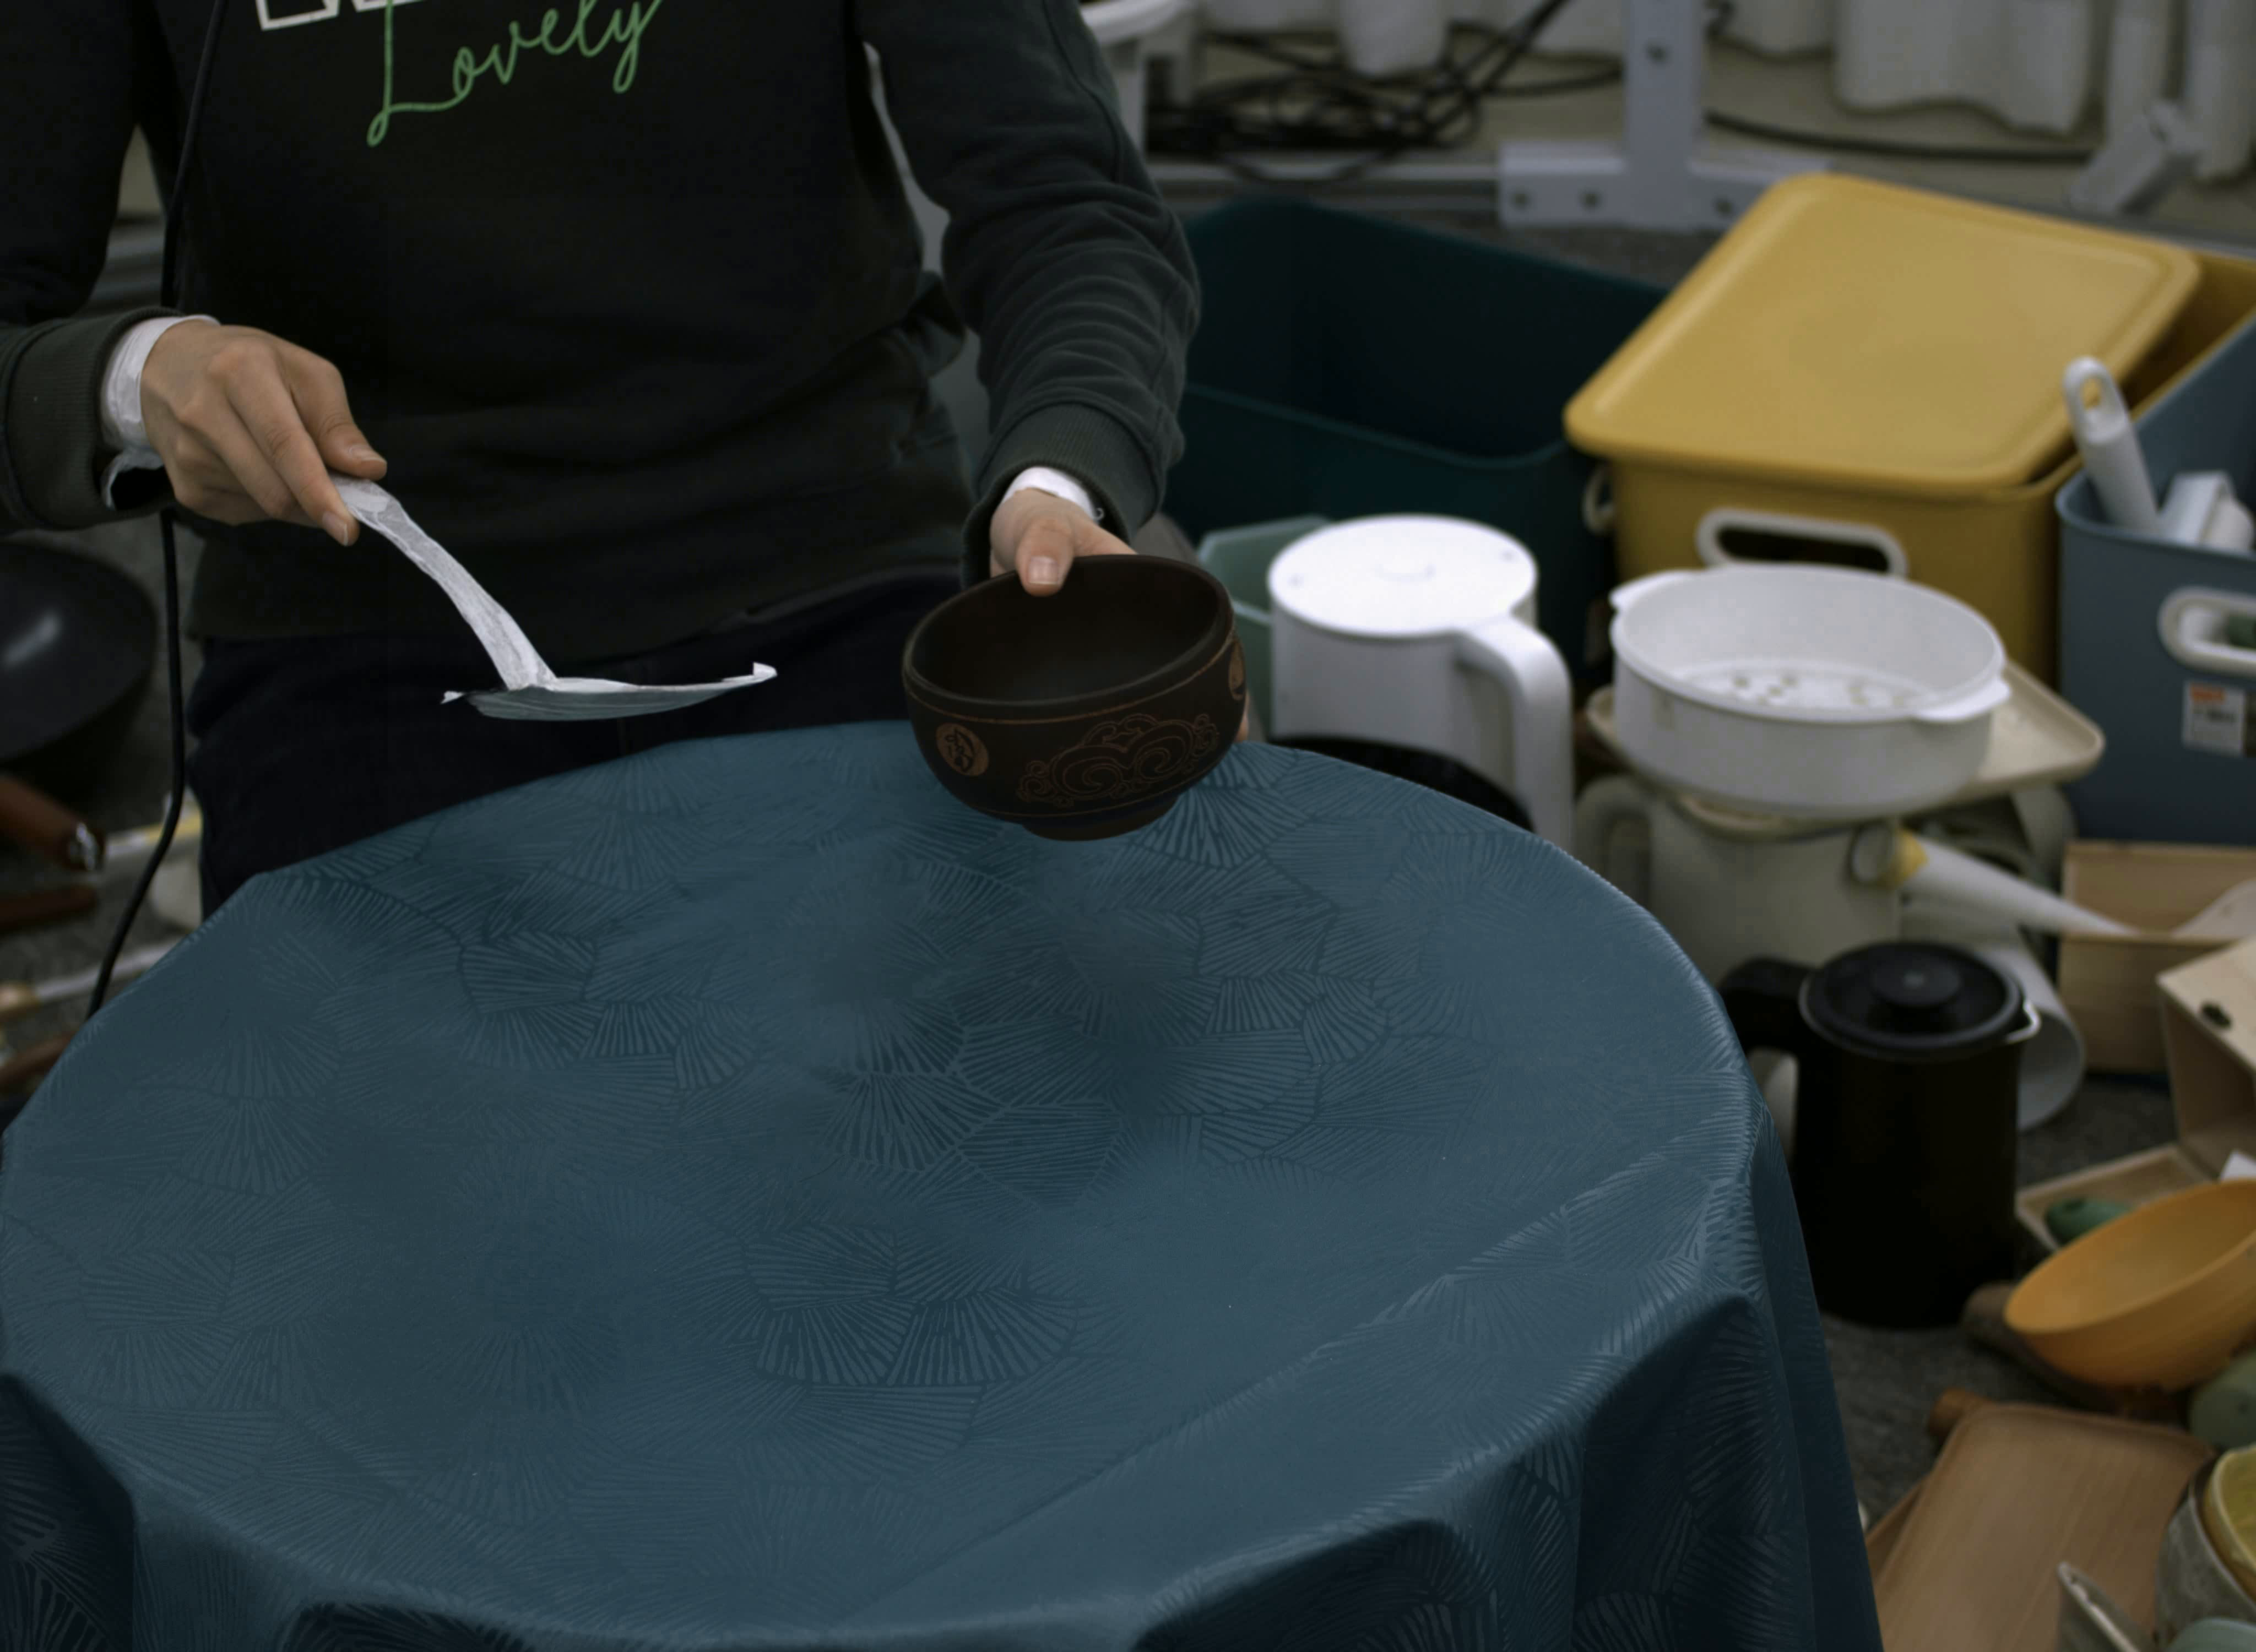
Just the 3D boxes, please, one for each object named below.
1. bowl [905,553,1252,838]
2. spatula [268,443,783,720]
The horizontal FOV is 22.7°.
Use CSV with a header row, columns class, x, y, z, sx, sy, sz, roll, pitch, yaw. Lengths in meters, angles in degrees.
class,x,y,z,sx,sy,sz,roll,pitch,yaw
bowl,-0.014,-0.039,1.927,0.117,0.069,0.120,-7,25,4
spatula,-0.229,-0.091,1.913,0.099,0.044,0.366,-4,23,-28
